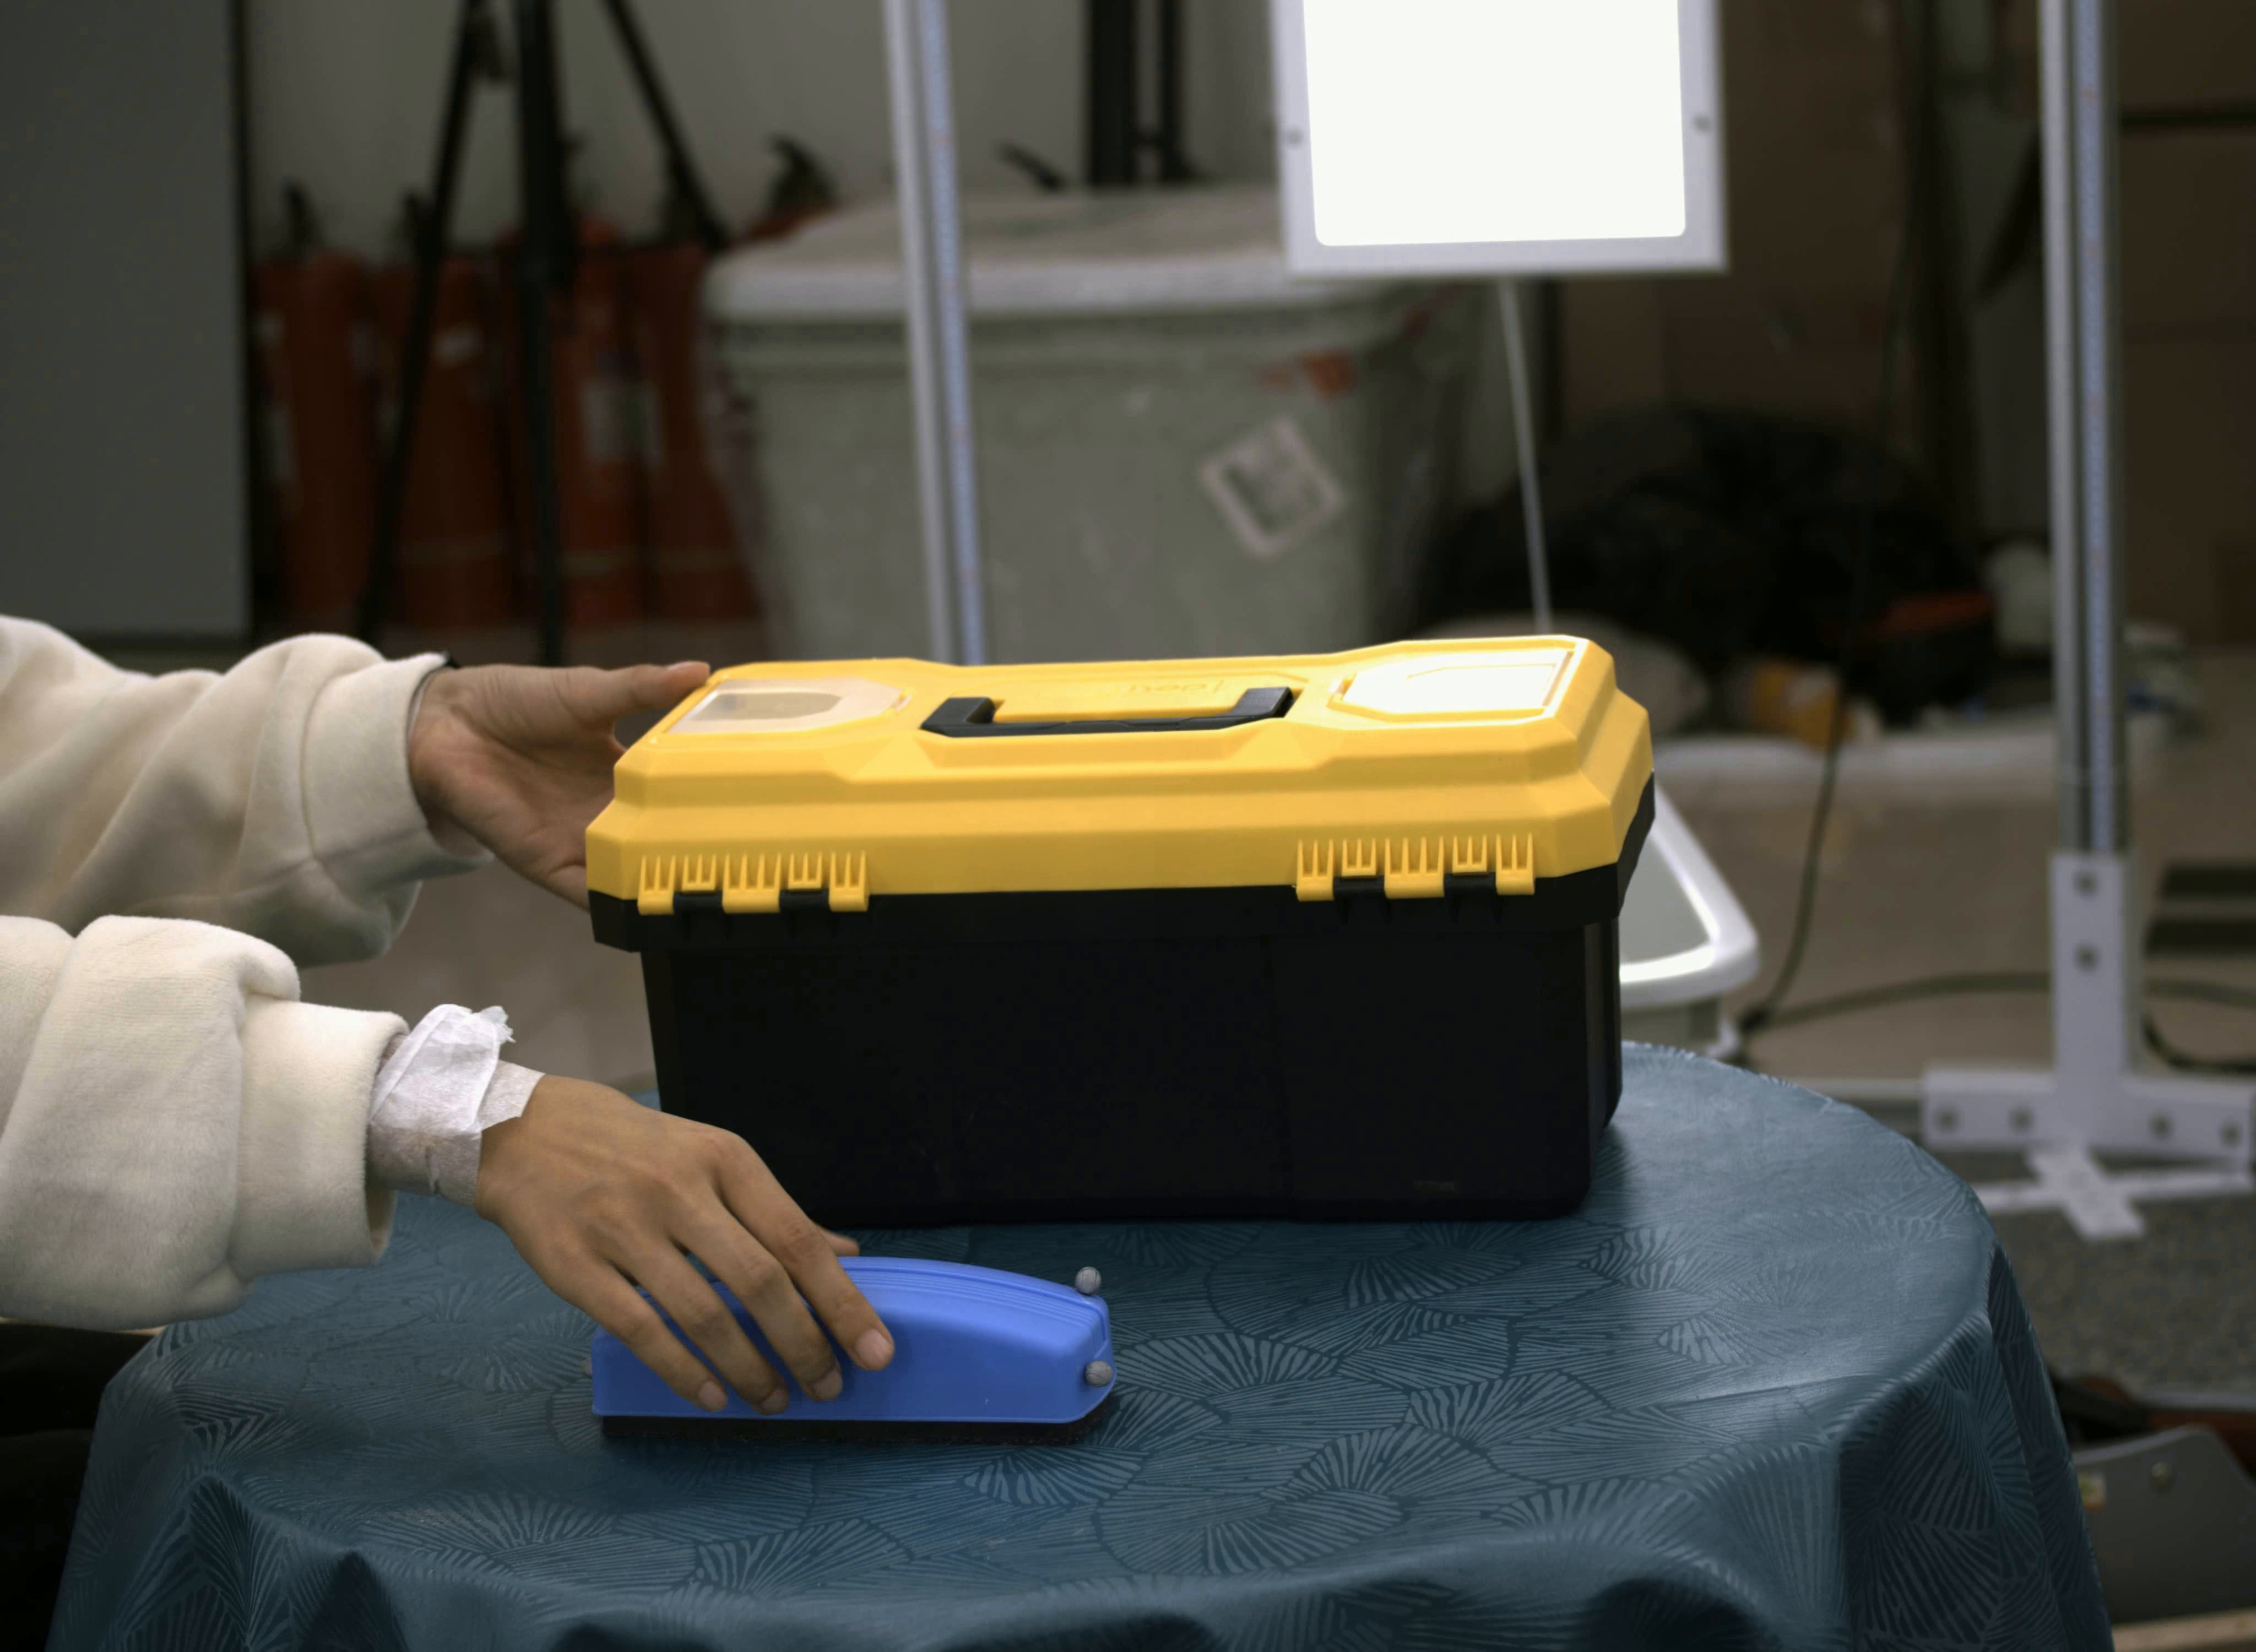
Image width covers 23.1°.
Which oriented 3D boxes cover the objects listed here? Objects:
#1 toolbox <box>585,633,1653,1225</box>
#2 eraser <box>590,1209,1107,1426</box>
[{"bbox_3d":[0.003,0.037,1.899,0.354,0.173,0.179,-1,15,14],"label":"toolbox"},{"bbox_3d":[-0.088,0.149,1.710,0.164,0.048,0.053,3,24,22],"label":"eraser"}]
